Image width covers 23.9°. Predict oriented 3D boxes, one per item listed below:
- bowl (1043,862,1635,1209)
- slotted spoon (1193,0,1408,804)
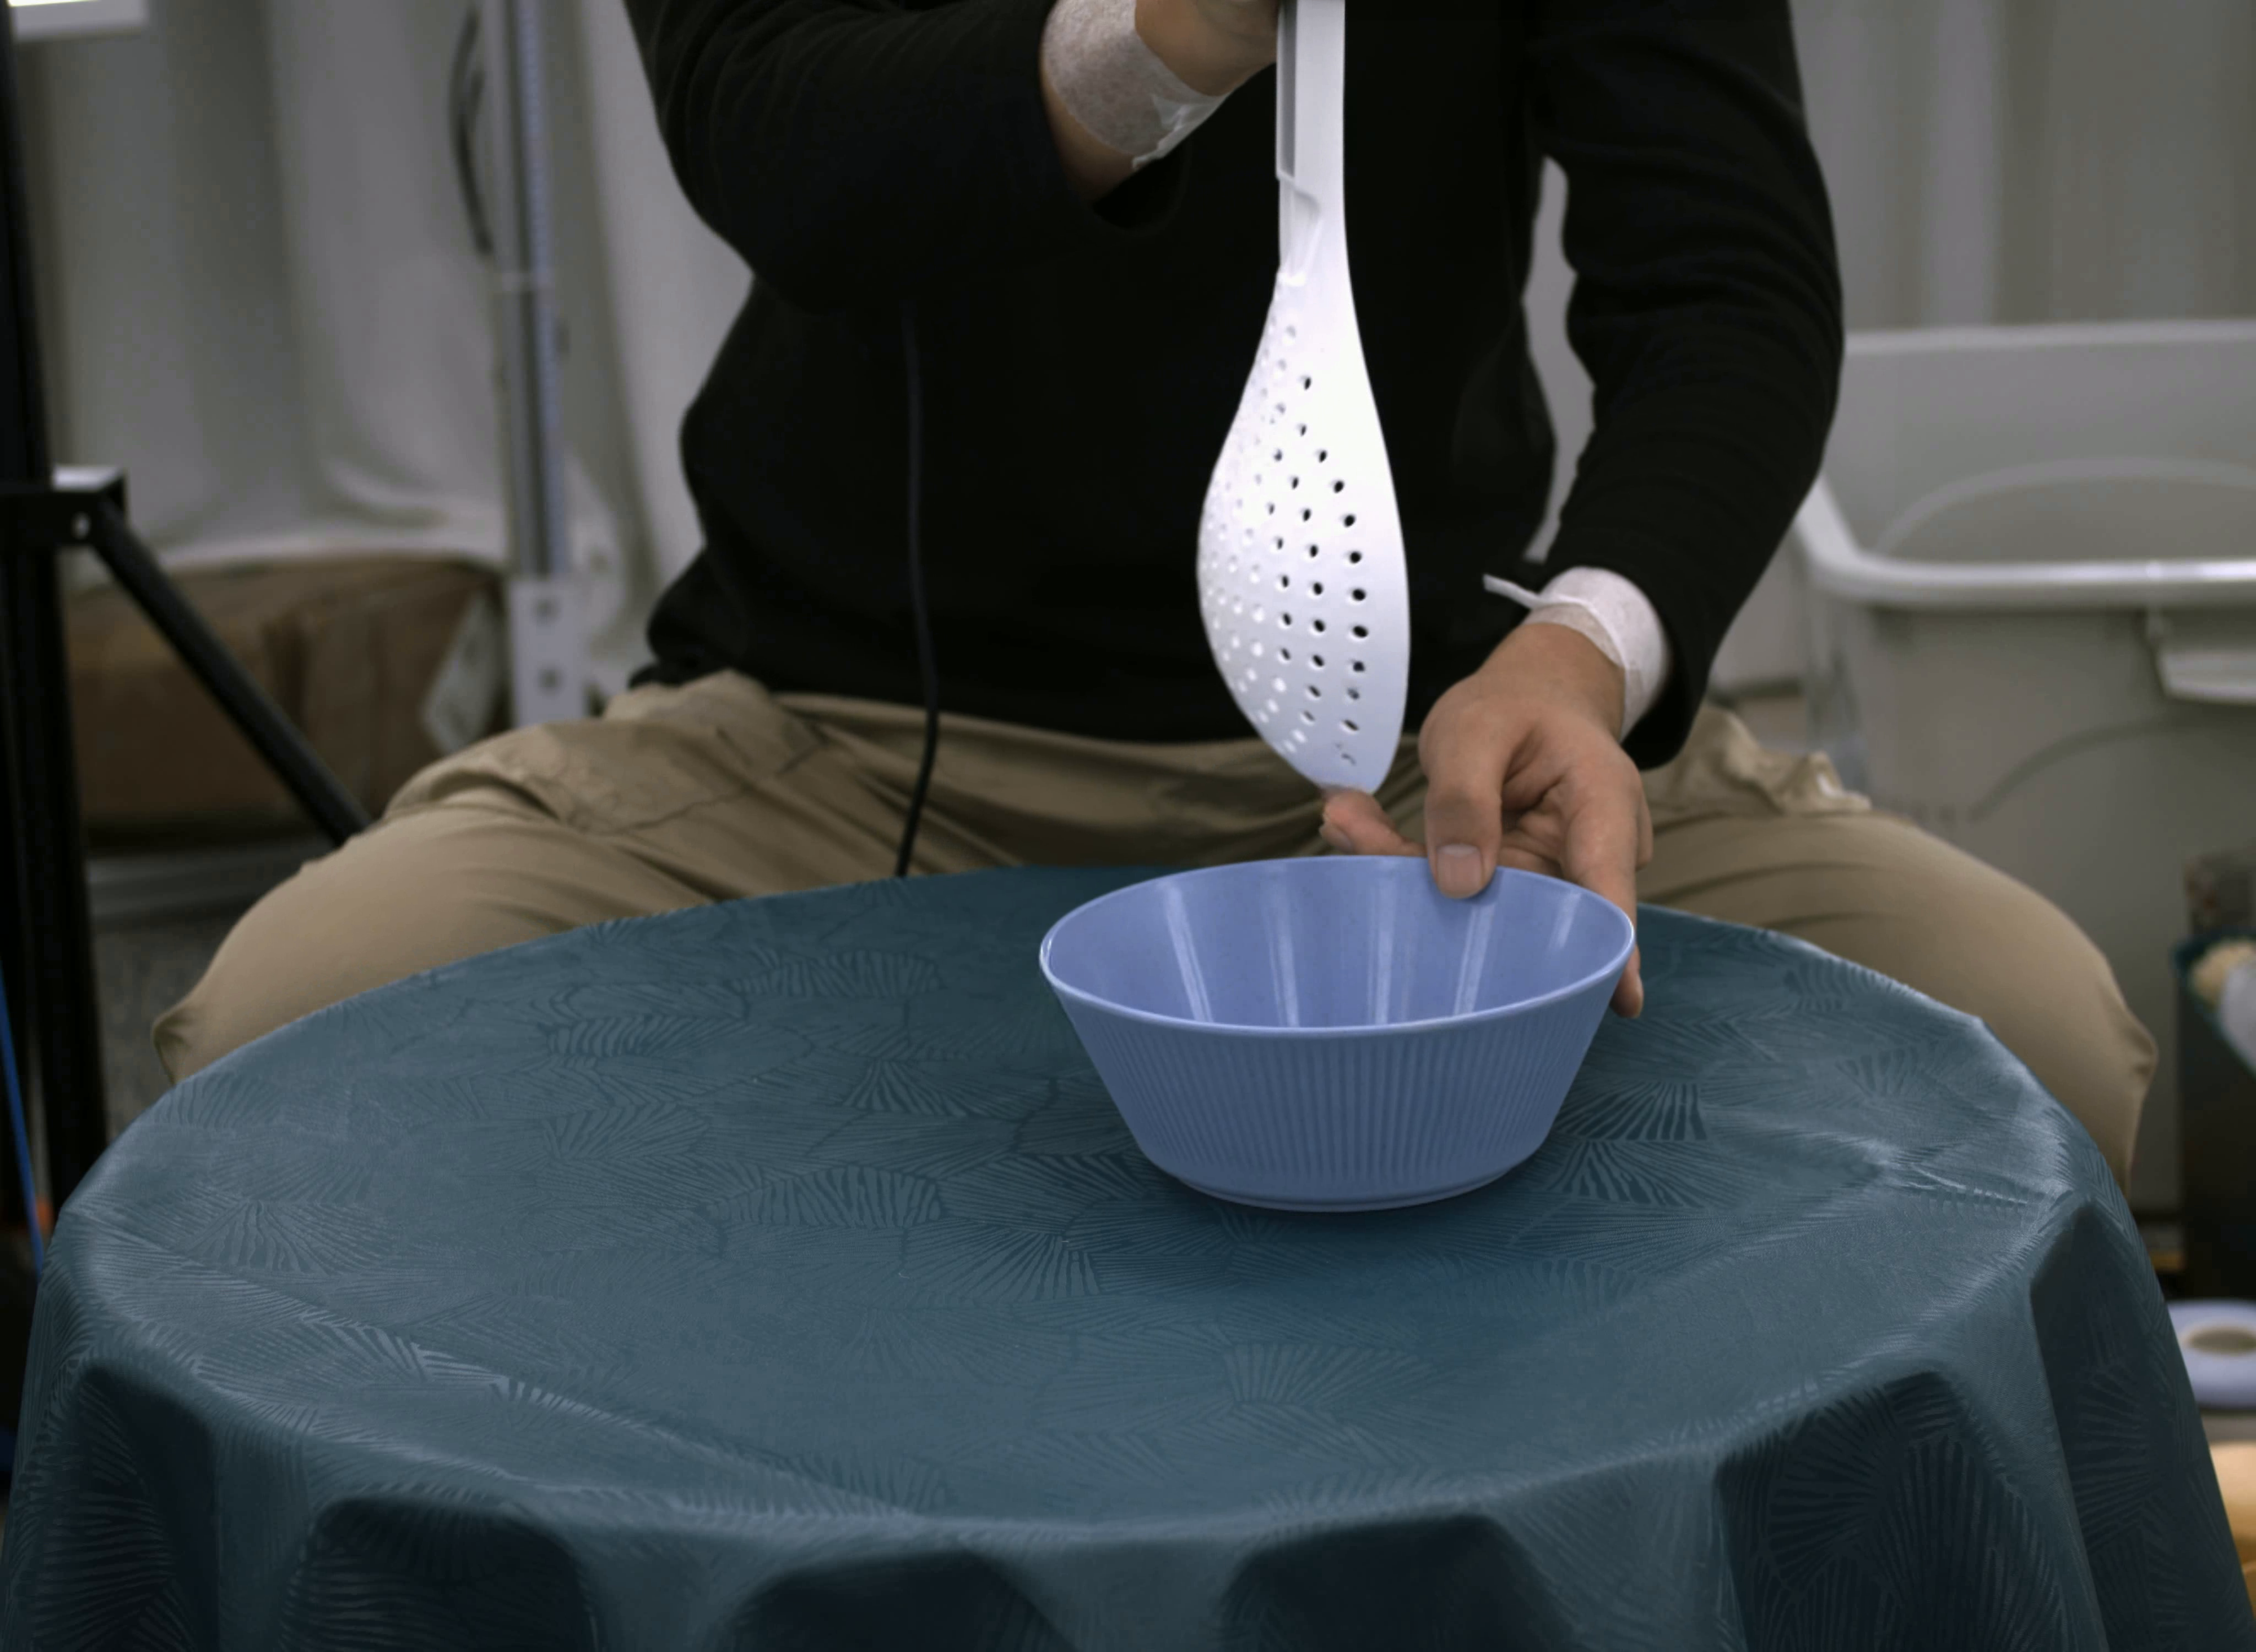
[{"bbox_3d":[0.063,0.064,1.573,0.175,0.070,0.177,-3,14,-1],"label":"bowl"},{"bbox_3d":[0.056,-0.176,1.573,0.045,0.350,0.138,0,18,-17],"label":"slotted spoon"}]
